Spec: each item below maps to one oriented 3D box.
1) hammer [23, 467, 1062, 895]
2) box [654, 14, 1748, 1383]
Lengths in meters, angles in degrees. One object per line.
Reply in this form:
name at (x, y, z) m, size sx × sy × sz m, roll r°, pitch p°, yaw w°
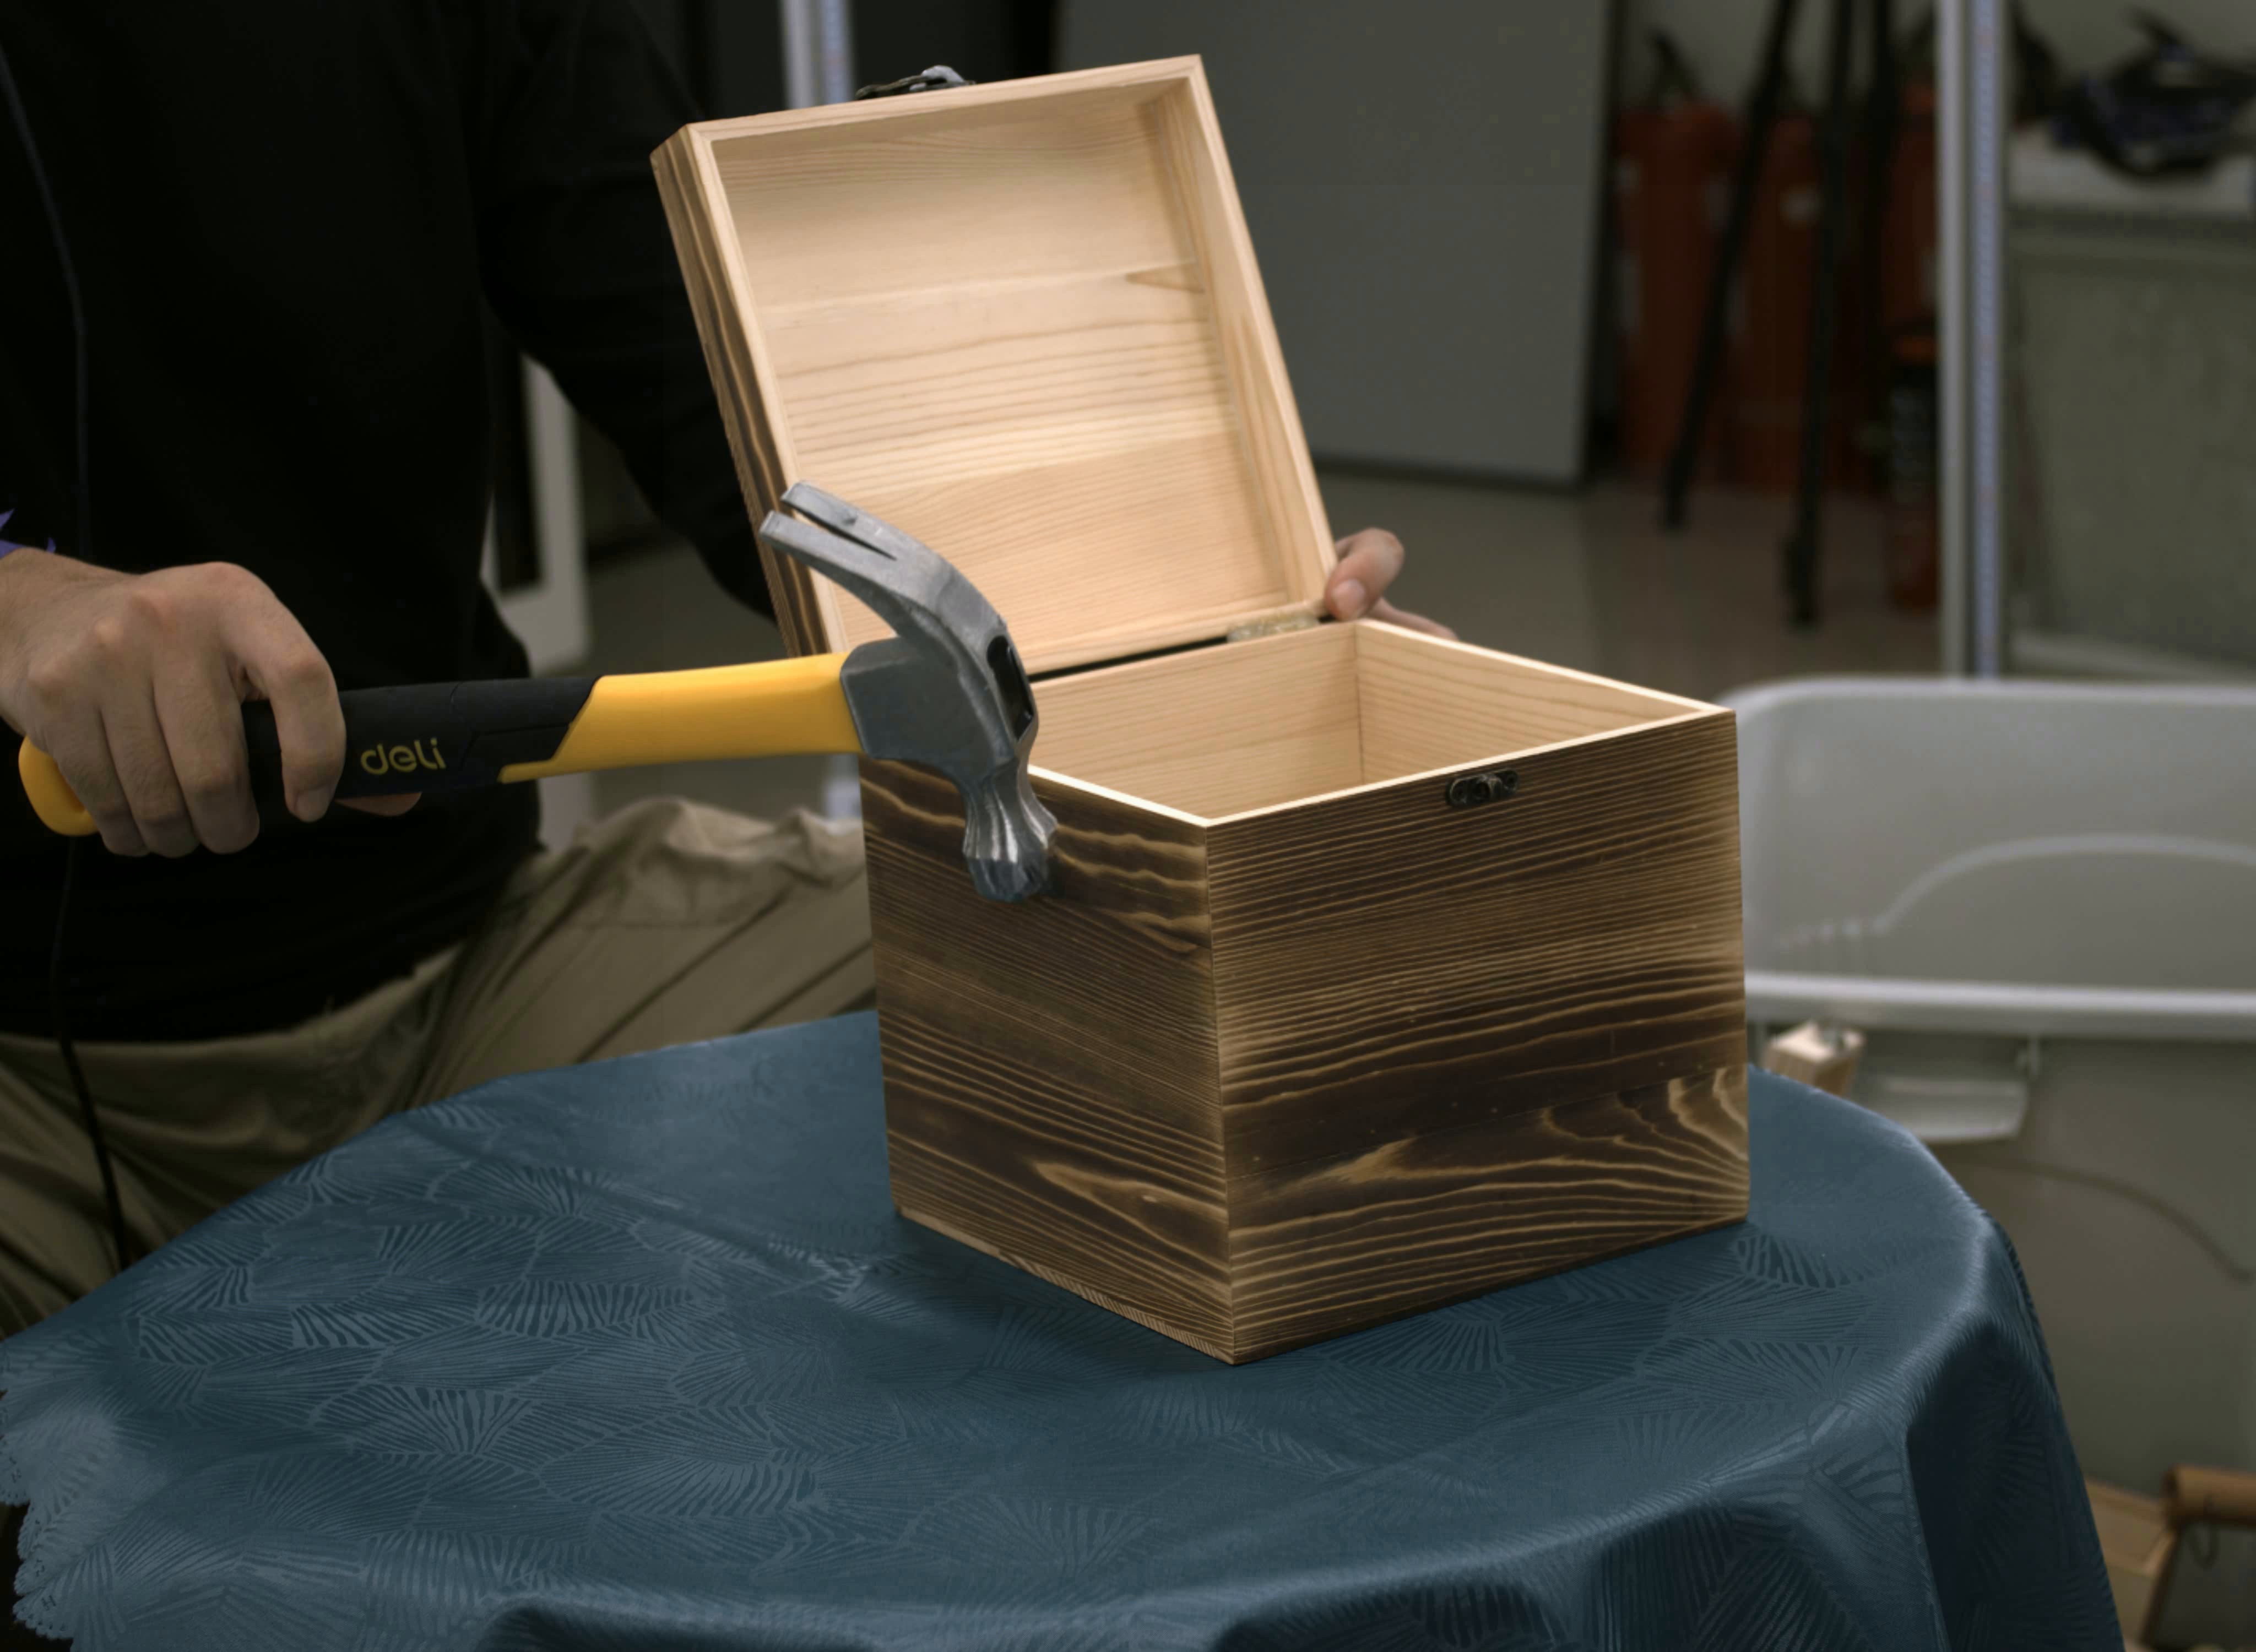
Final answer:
hammer at (-0.188, -0.030, 1.641) m, size 0.339 × 0.132 × 0.032 m, roll -5°, pitch 27°, yaw 25°
box at (0.020, -0.059, 1.734) m, size 0.204 × 0.379 × 0.325 m, roll -12°, pitch 16°, yaw -30°
